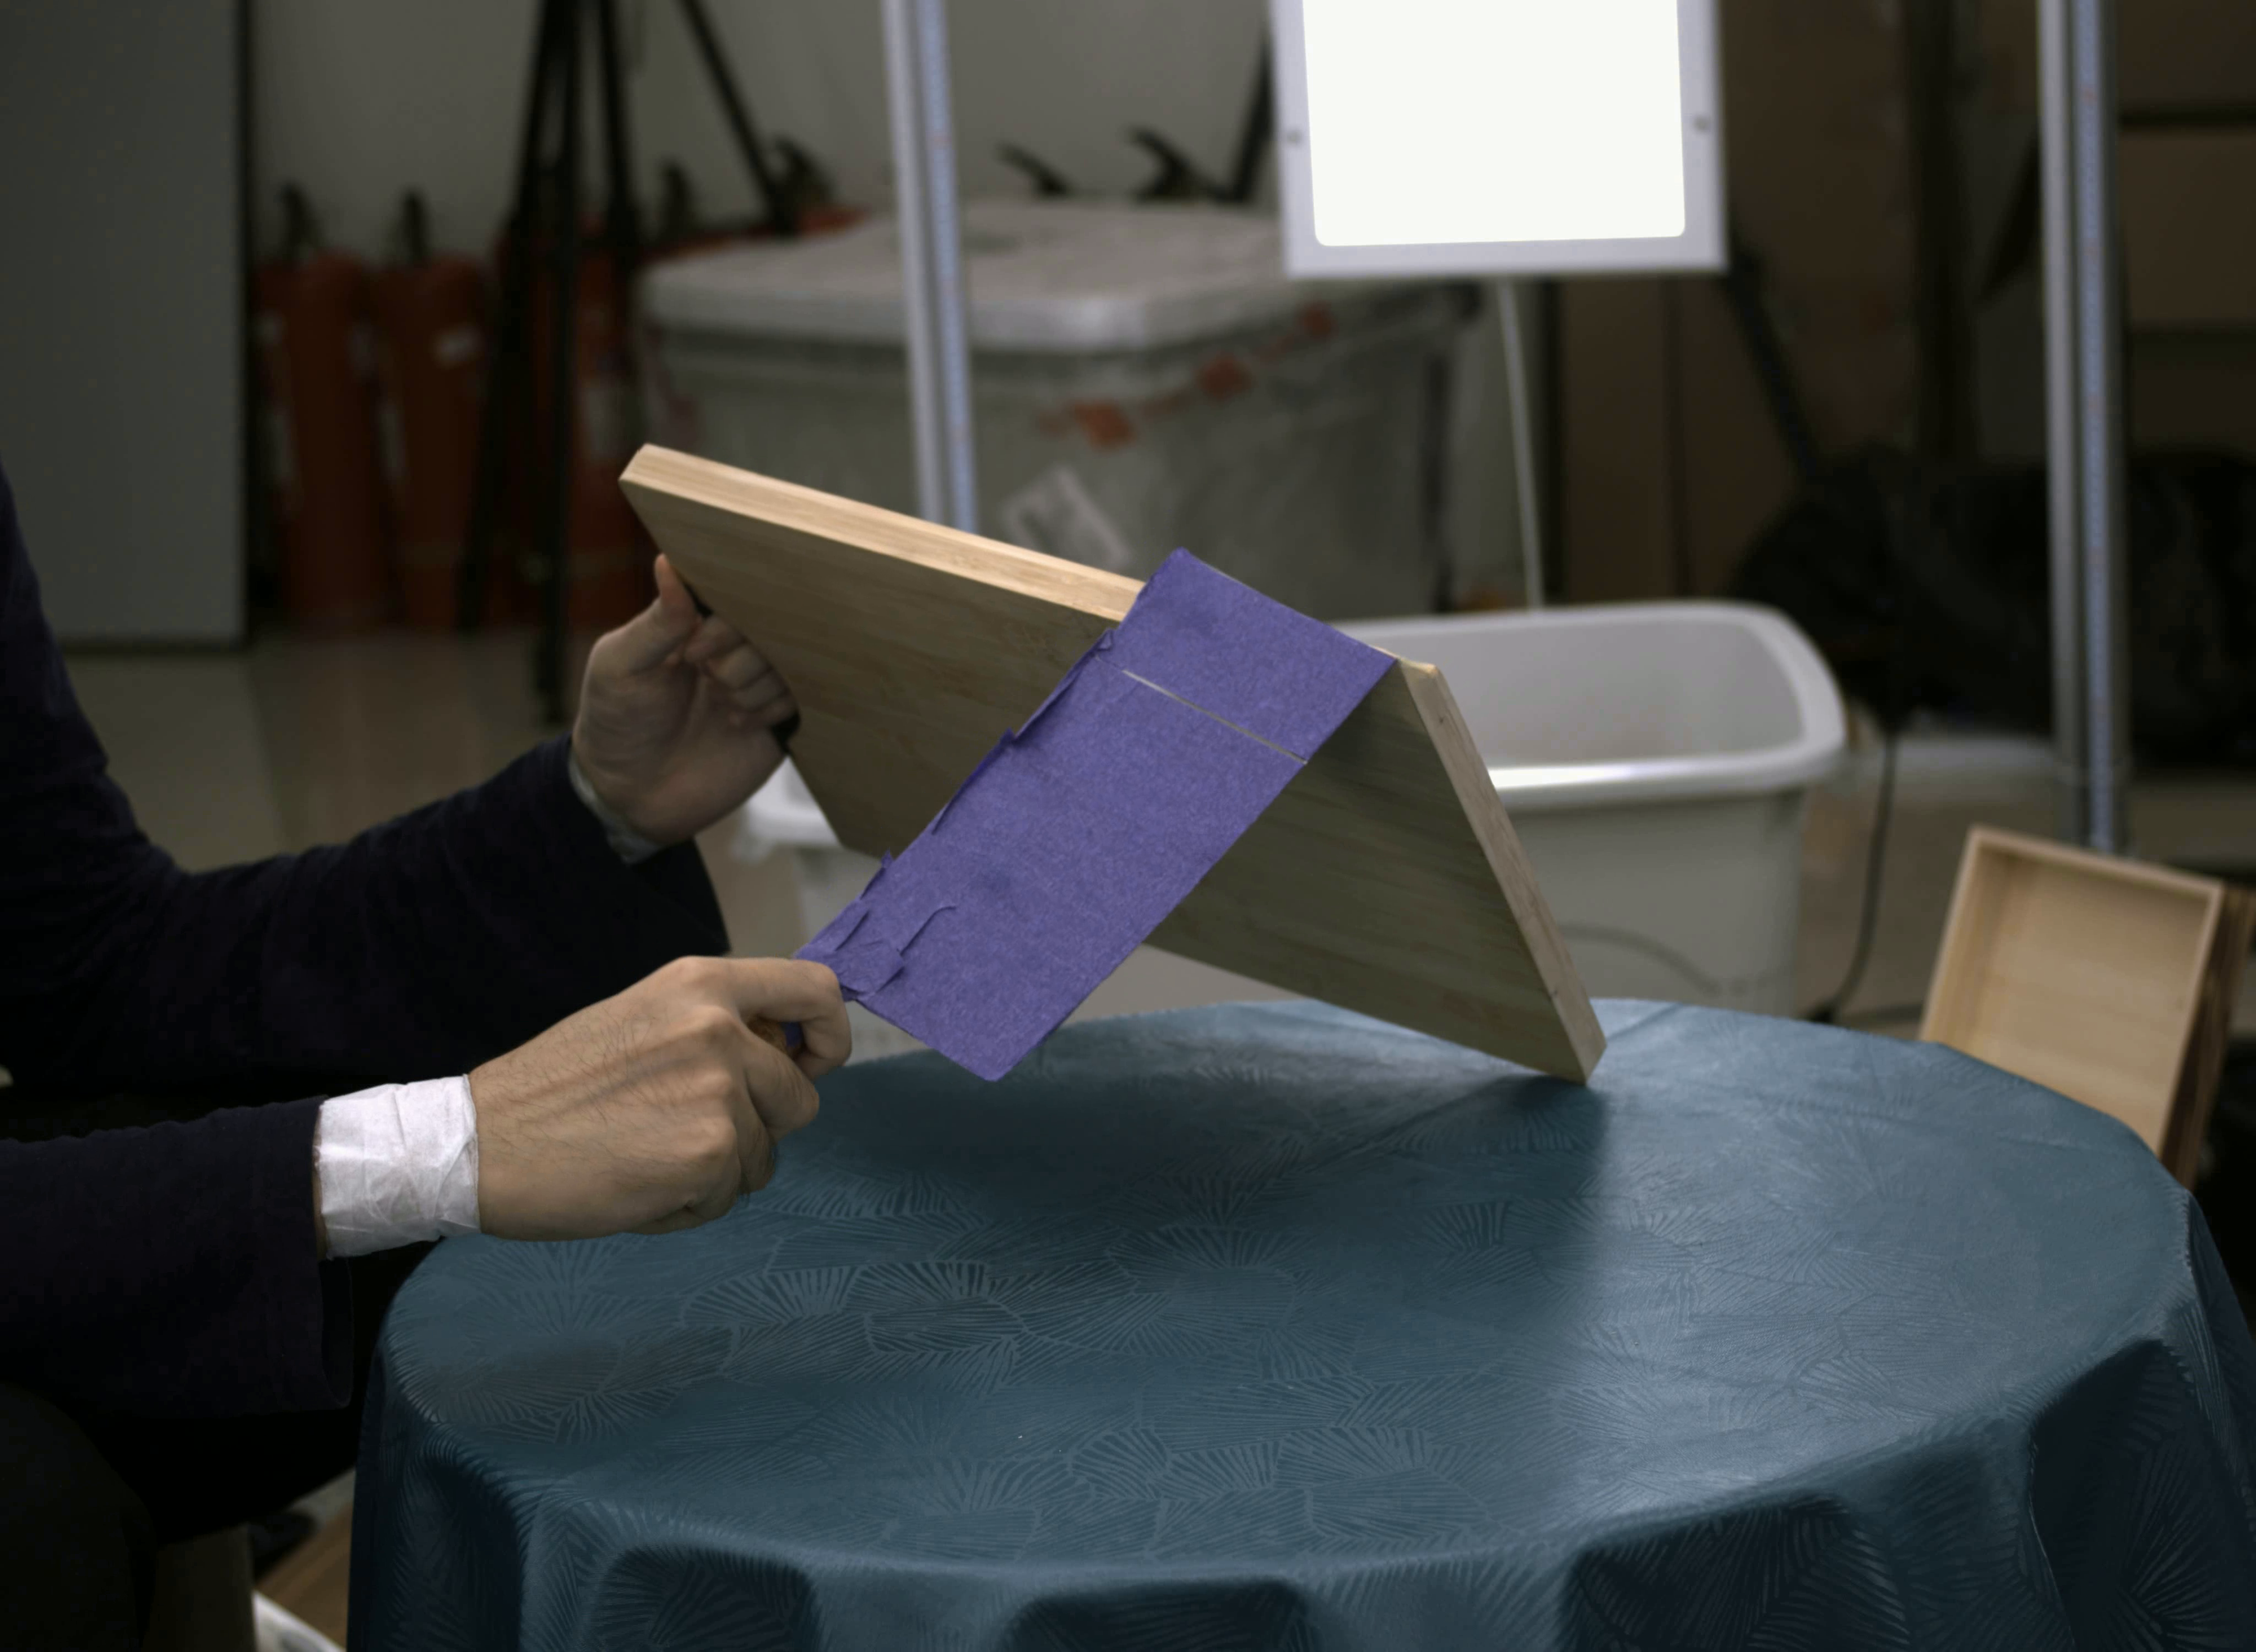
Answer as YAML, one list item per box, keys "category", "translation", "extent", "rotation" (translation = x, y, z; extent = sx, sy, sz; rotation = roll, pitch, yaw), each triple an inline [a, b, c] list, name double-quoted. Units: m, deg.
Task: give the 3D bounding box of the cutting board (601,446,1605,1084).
- category: "cutting board"
  translation: [-0.009, -0.023, 1.989]
  extent: [0.355, 0.249, 0.023]
  rotation: [17, 63, 32]

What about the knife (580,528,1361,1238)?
- category: "knife"
  translation: [-0.045, 0.024, 1.777]
  extent: [0.105, 0.032, 0.311]
  rotation: [28, 66, 32]
